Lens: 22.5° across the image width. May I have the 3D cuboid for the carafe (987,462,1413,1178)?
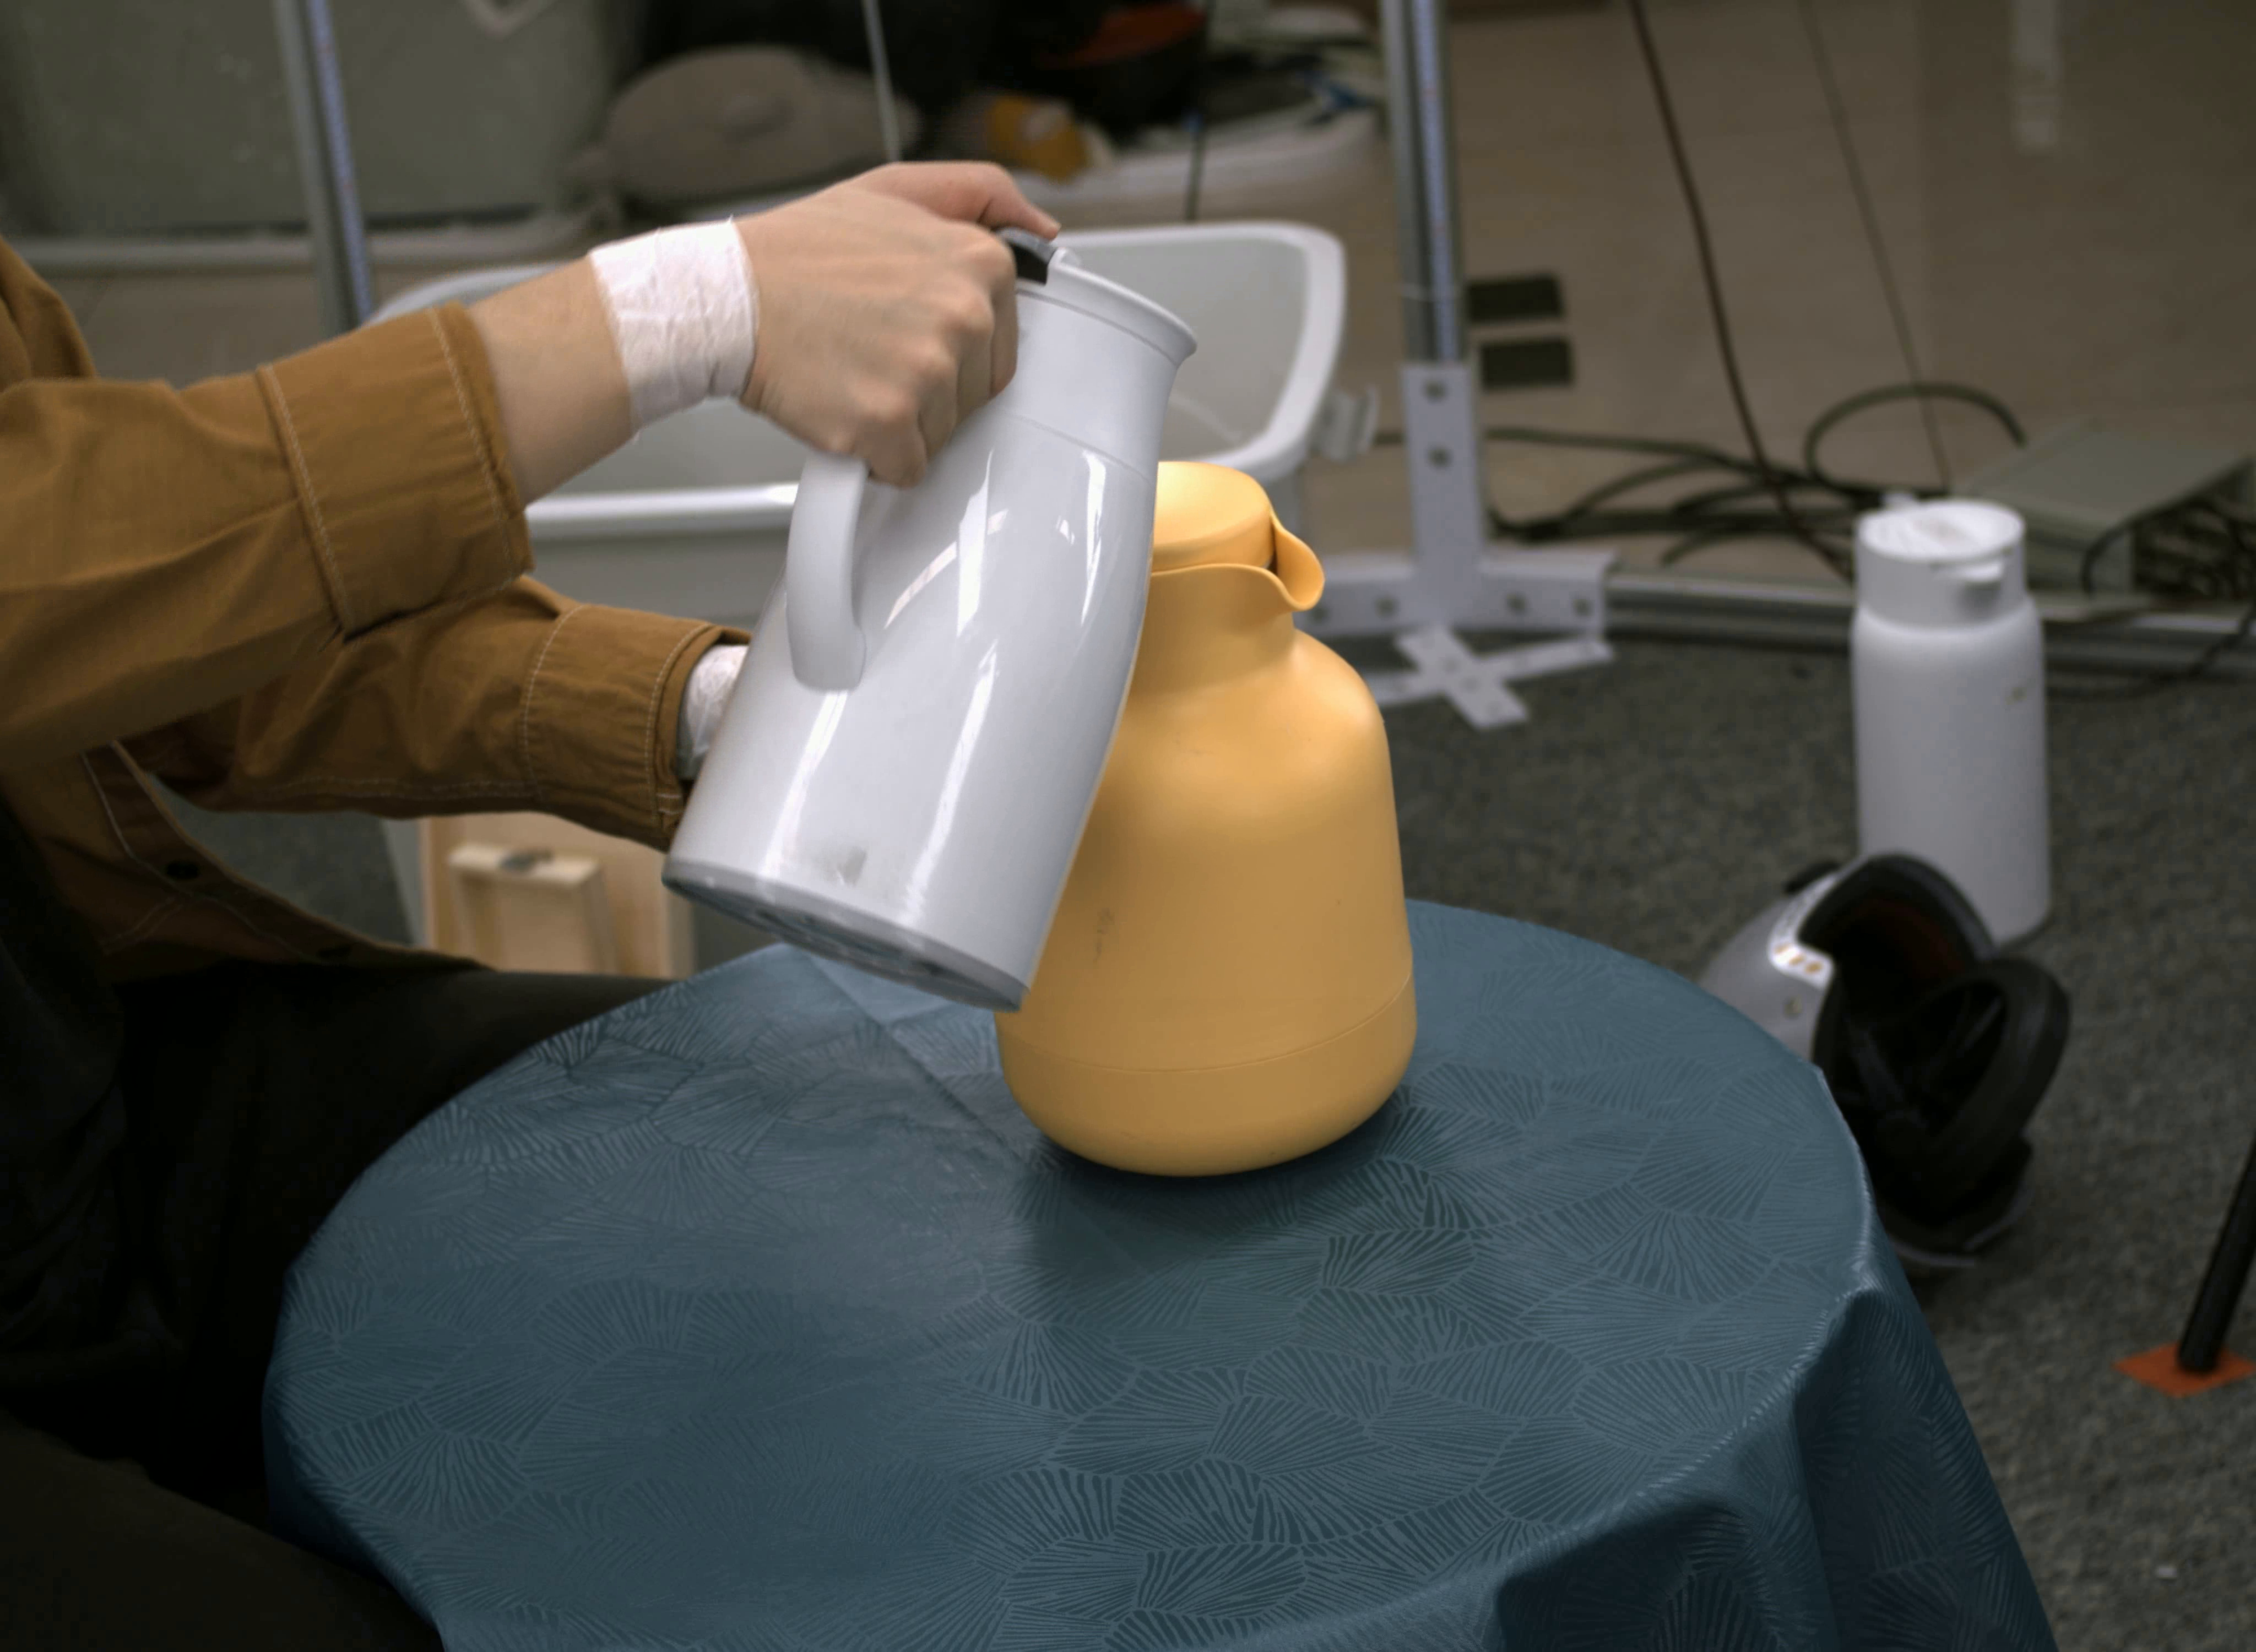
[{"bbox_3d":[0.008,-0.012,2.160,0.201,0.264,0.162,18,34,39],"label":"carafe"}]

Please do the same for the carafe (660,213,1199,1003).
[{"bbox_3d":[-0.064,-0.083,1.934,0.131,0.248,0.169,16,-8,30],"label":"carafe"}]
